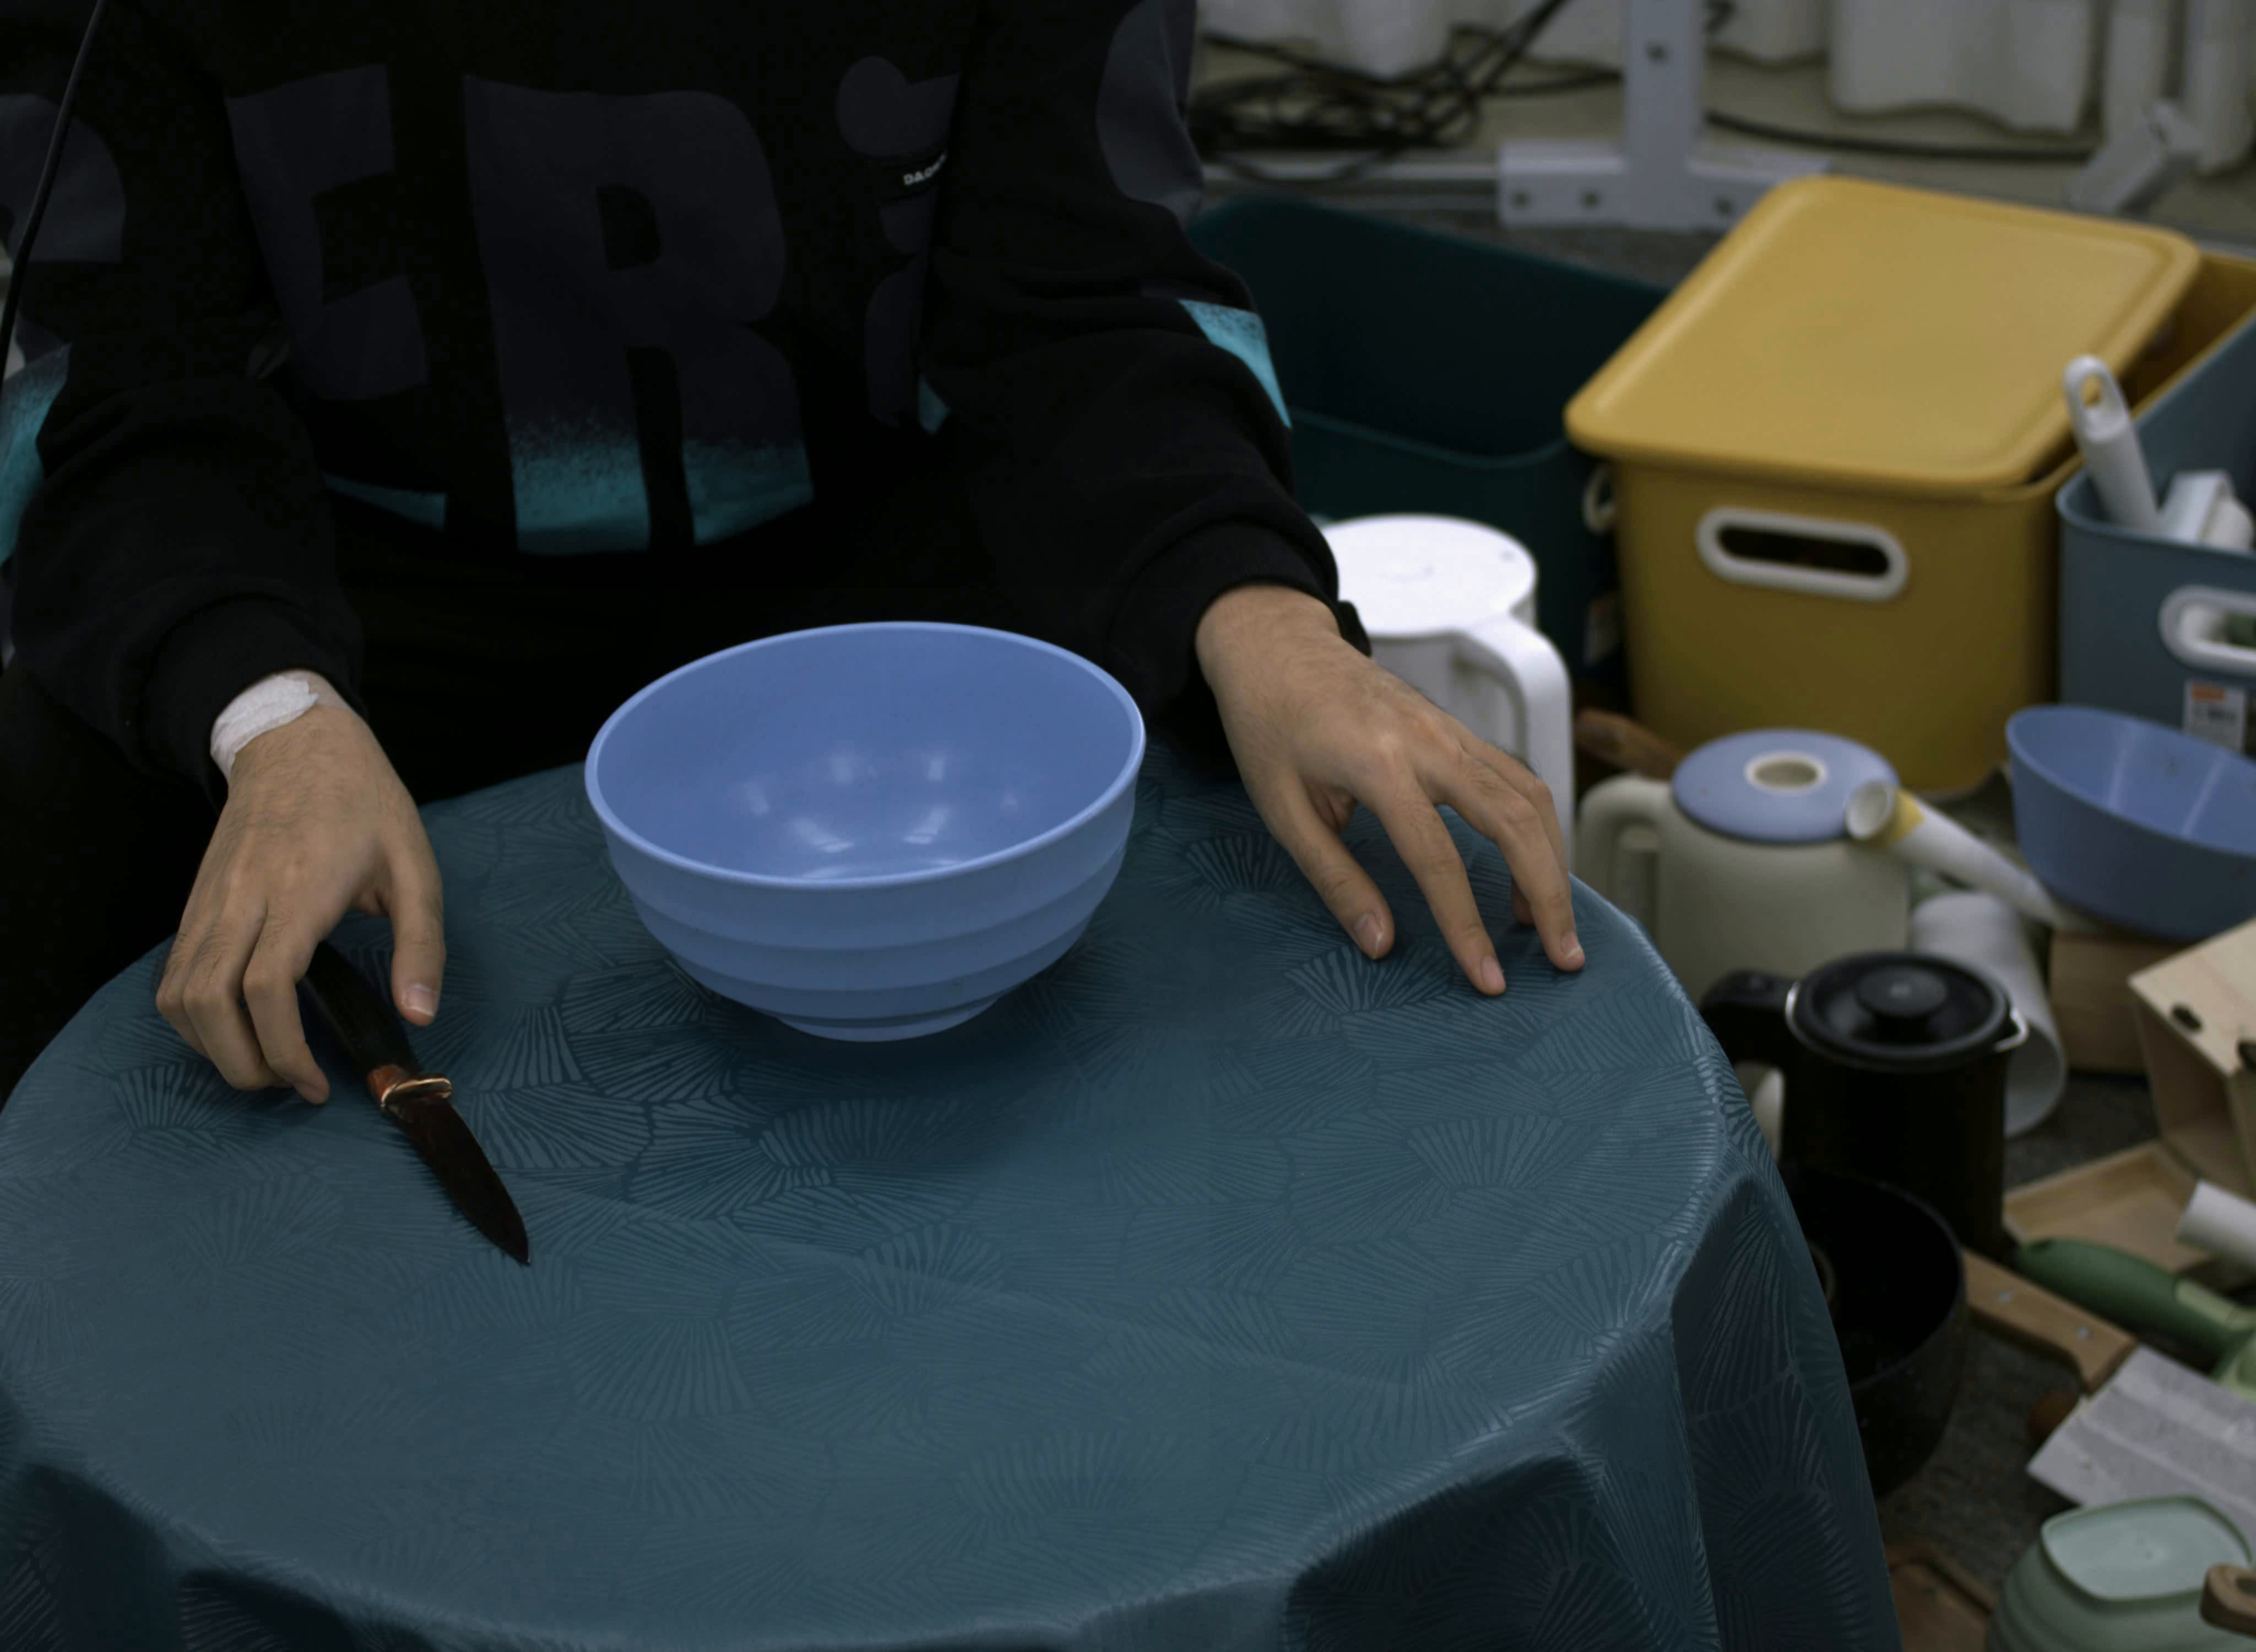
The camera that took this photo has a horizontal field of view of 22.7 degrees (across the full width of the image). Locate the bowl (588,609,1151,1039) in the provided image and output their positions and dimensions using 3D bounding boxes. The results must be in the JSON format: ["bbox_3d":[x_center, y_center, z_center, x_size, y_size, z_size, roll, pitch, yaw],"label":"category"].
[{"bbox_3d":[-0.088,0.011,1.976,0.195,0.094,0.200,-1,30,1],"label":"bowl"}]

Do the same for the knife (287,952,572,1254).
[{"bbox_3d":[-0.242,0.095,1.924,0.026,0.017,0.227,-14,30,-24],"label":"knife"}]
